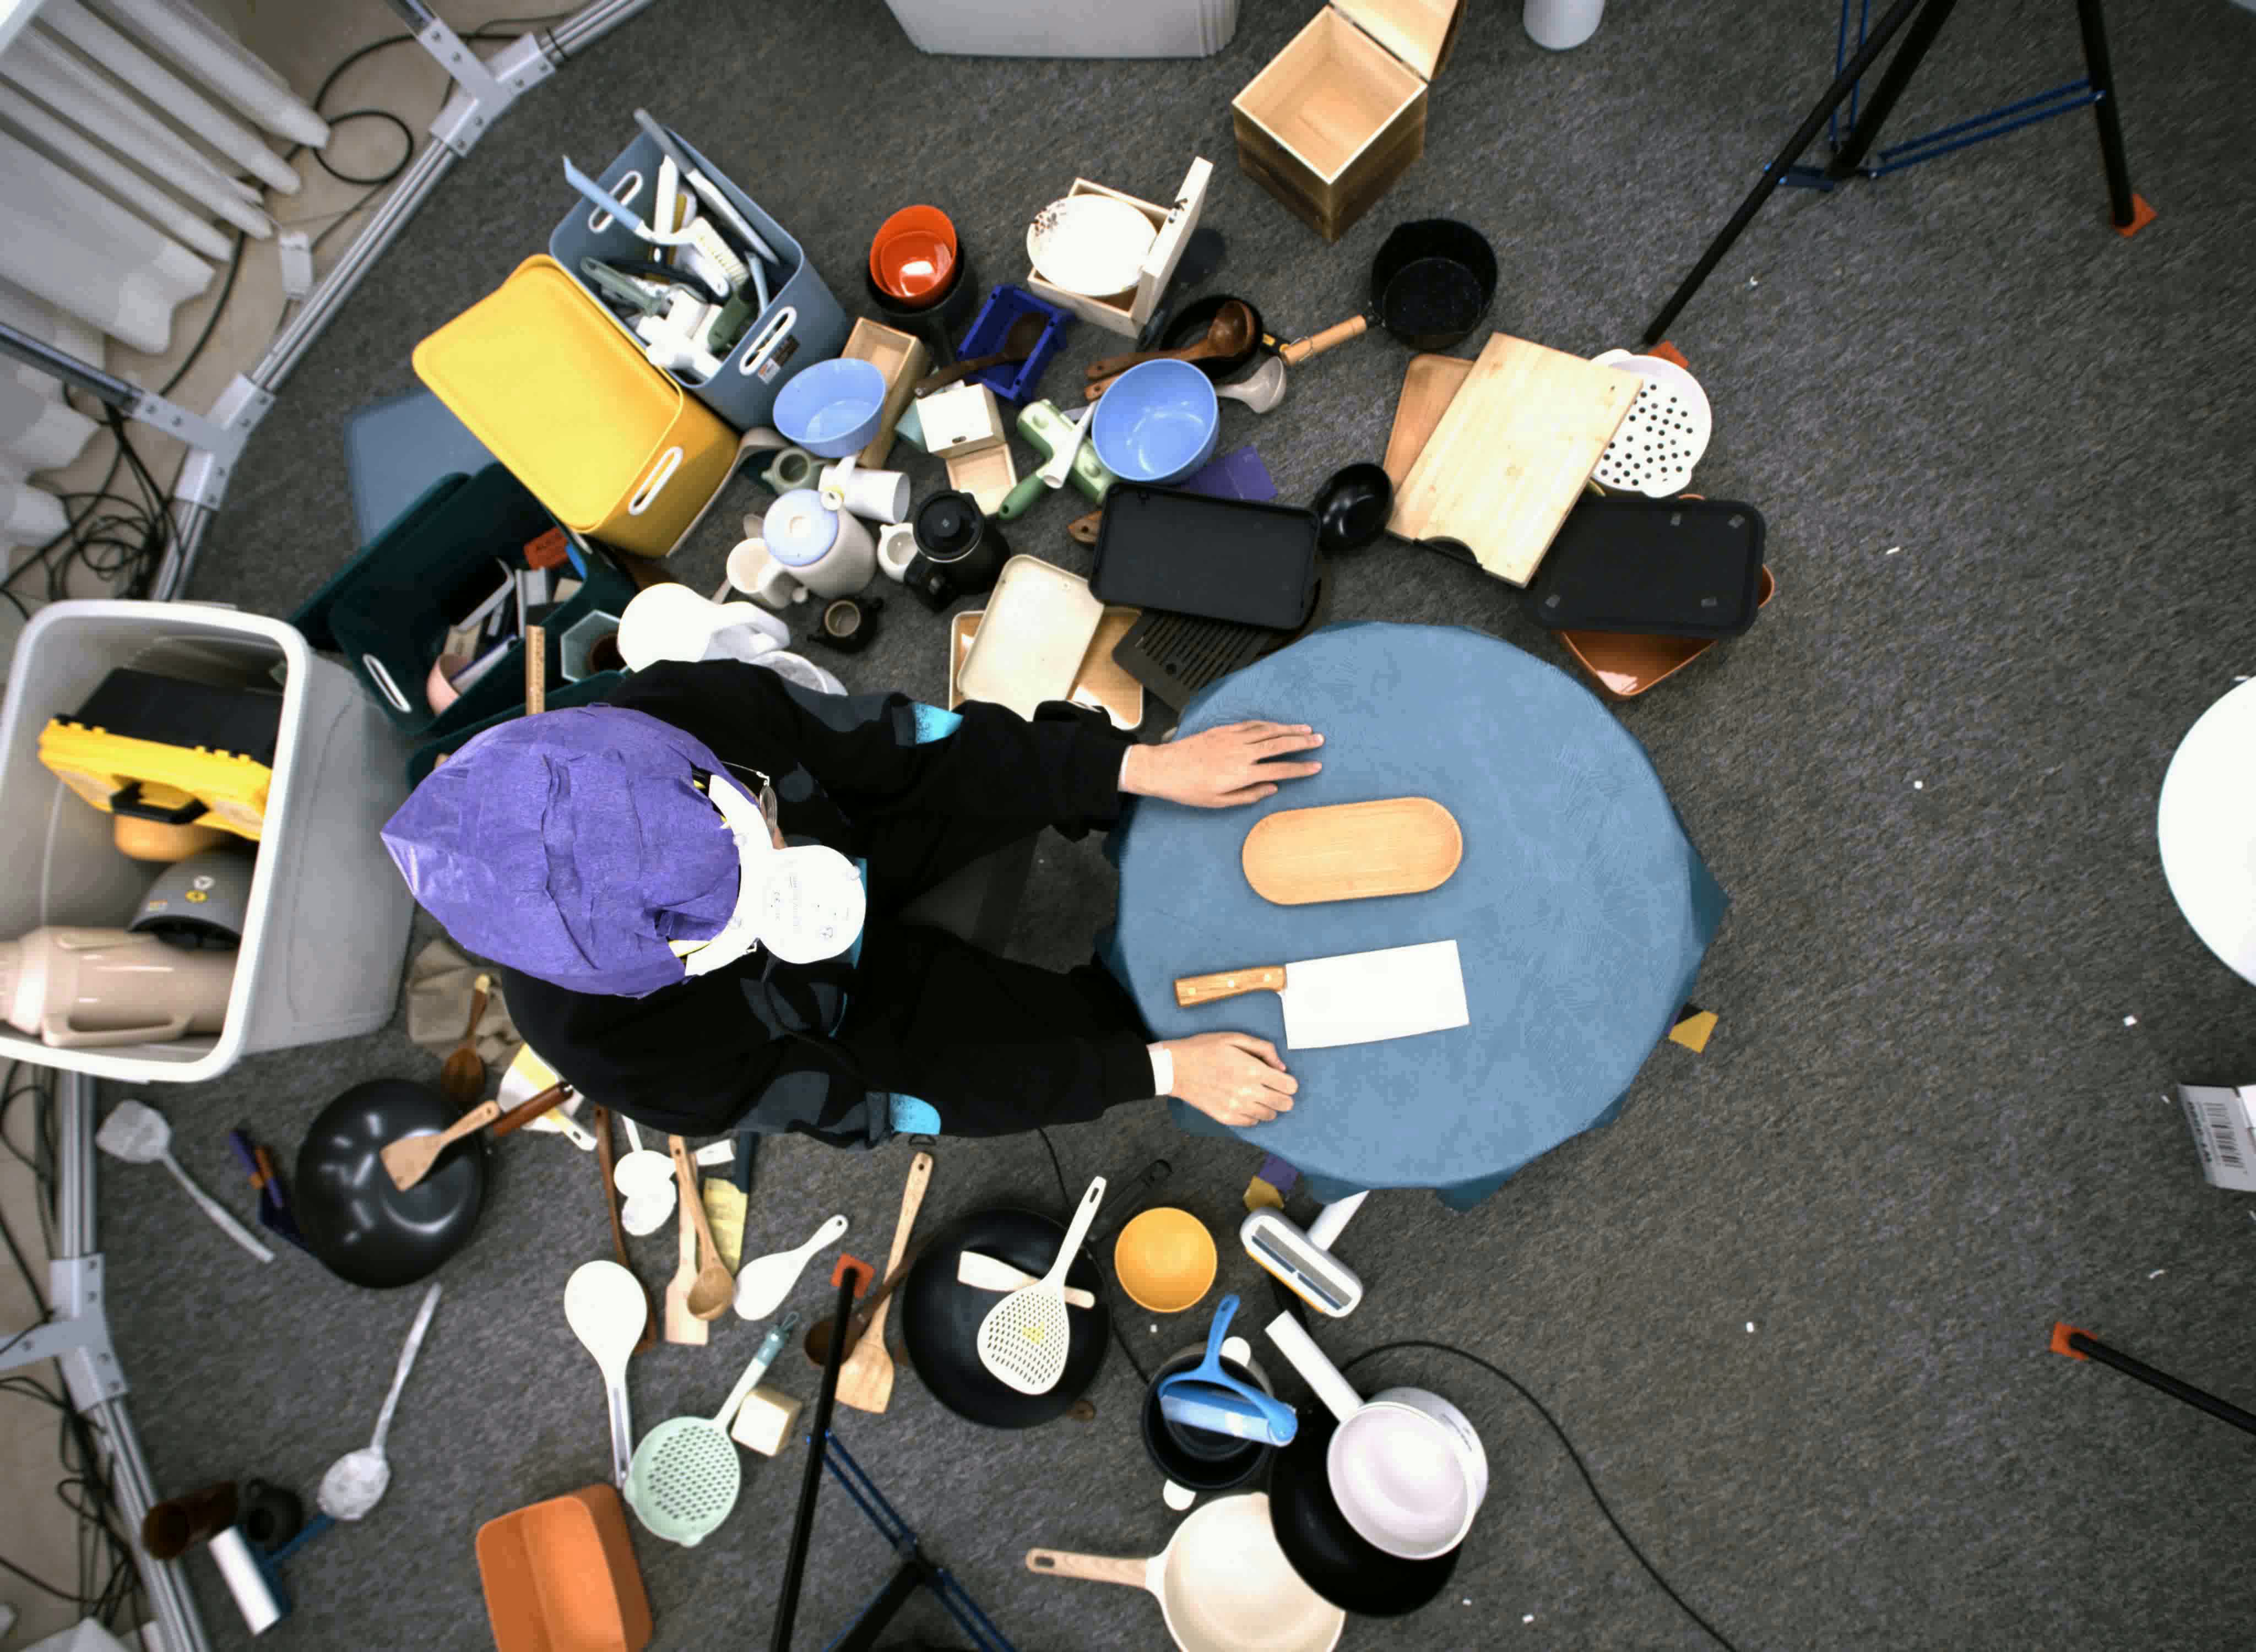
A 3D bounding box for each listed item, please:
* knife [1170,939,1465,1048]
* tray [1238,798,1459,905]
[{"bbox_3d":[0.199,0.183,1.459,0.307,0.021,0.092,-9,87,8],"label":"knife"},{"bbox_3d":[0.232,0.026,1.461,0.232,0.020,0.101,-6,85,11],"label":"tray"}]
